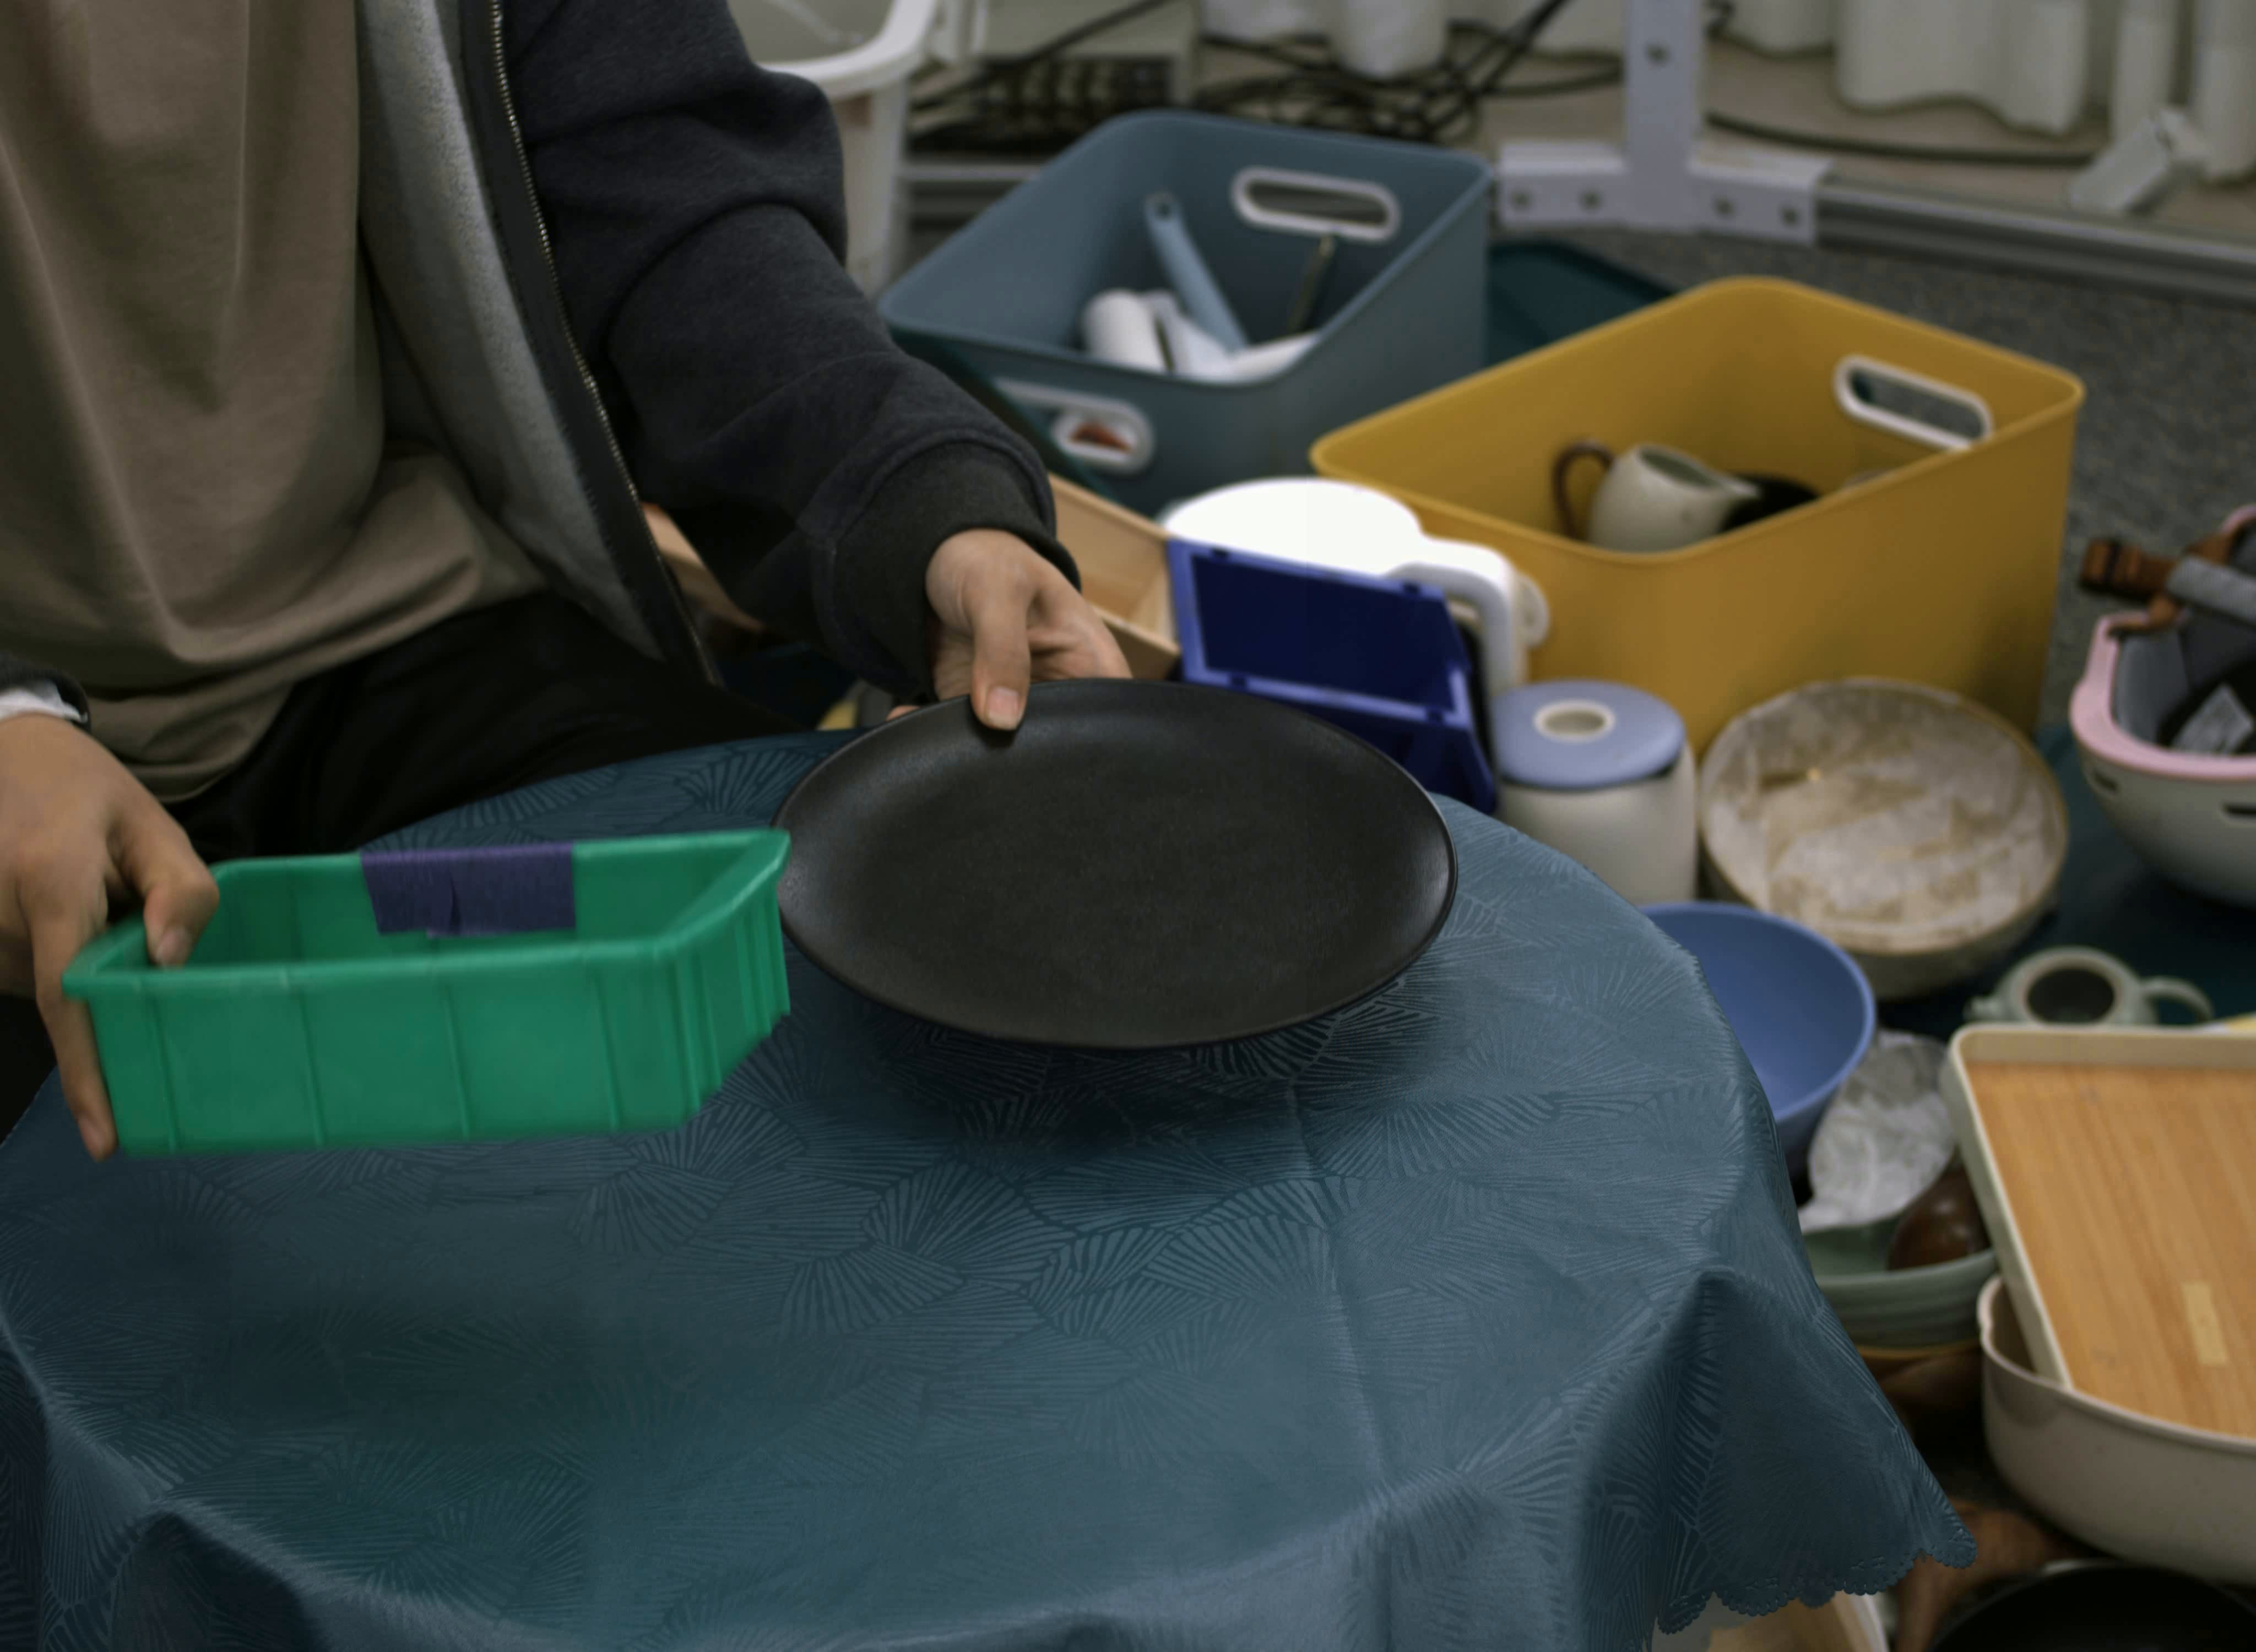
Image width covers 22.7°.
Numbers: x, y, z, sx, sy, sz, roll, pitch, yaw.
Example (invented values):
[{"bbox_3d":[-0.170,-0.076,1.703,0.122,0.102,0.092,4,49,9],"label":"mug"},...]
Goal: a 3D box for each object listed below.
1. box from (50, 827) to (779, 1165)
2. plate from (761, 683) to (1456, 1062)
[{"bbox_3d":[-0.215,0.054,1.744,0.209,0.065,0.140,-6,12,12],"label":"box"},{"bbox_3d":[-0.007,0.020,1.967,0.243,0.023,0.248,1,32,0],"label":"plate"}]
